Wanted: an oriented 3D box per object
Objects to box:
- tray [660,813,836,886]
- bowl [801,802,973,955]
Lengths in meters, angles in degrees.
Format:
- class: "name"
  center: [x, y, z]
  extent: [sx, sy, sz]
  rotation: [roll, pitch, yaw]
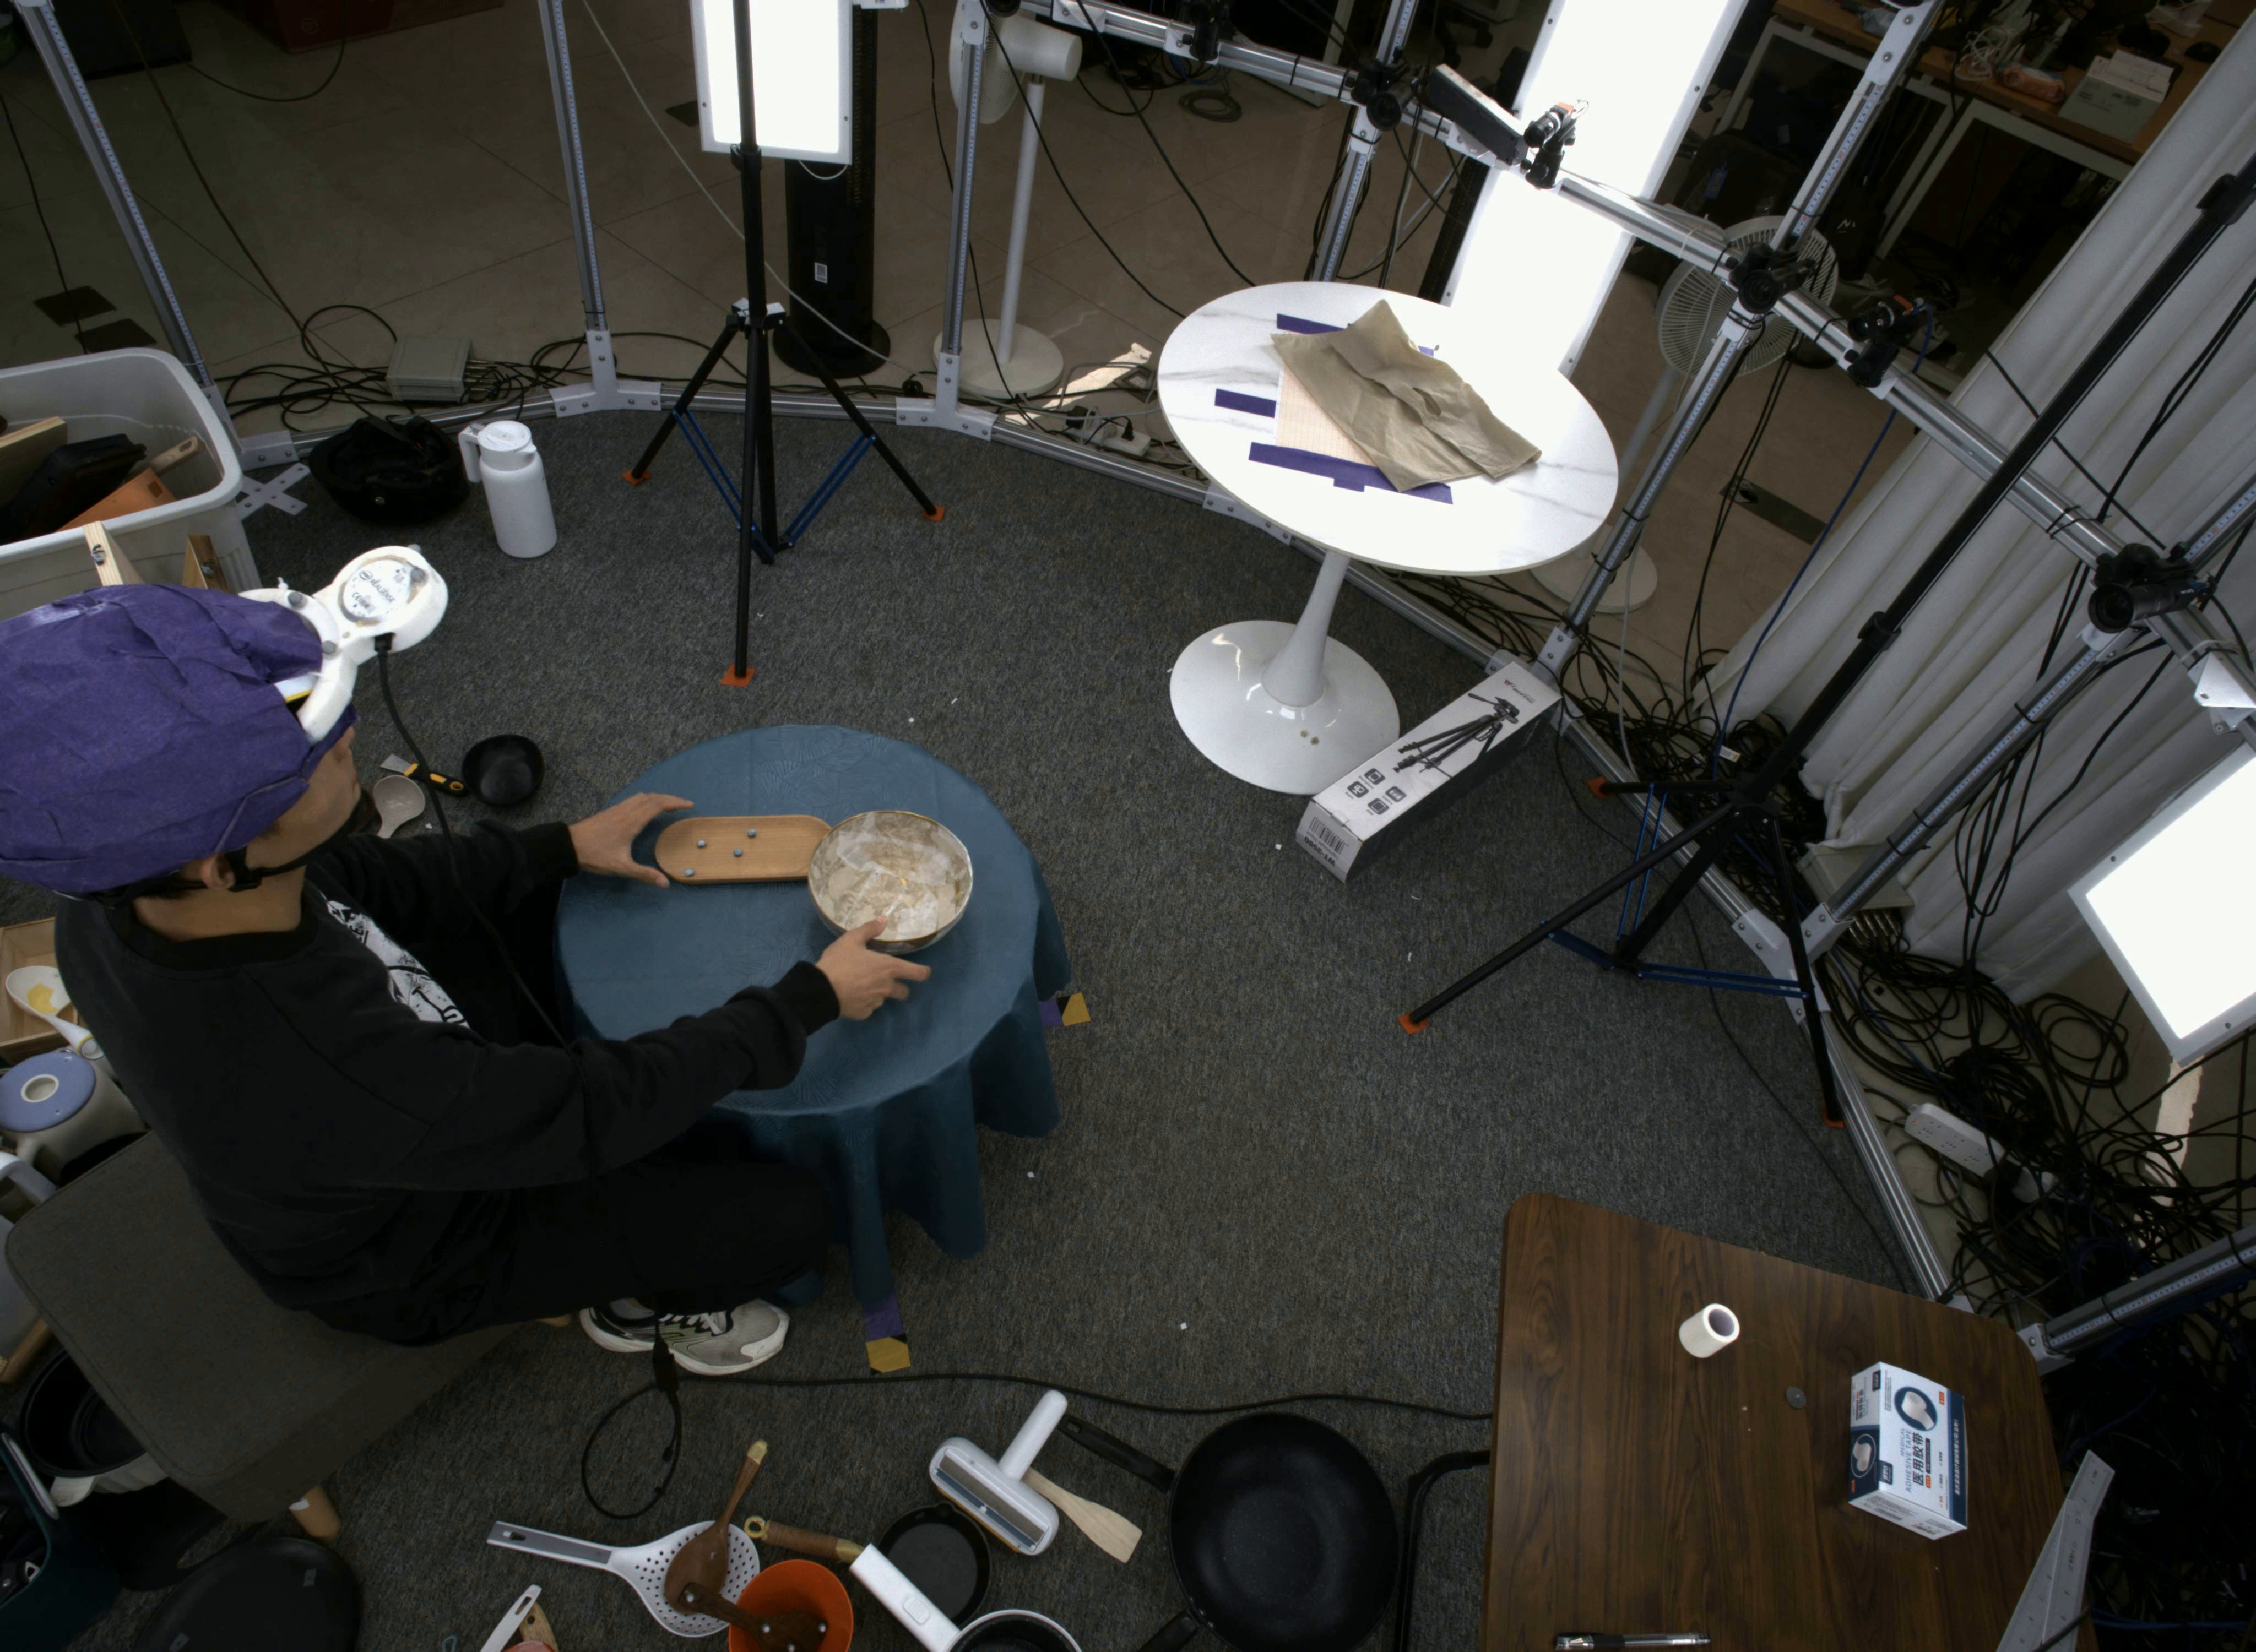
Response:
- class: "tray"
  center: [-0.490, 0.029, 1.681]
  extent: [0.232, 0.020, 0.099]
  rotation: [-2, 57, -18]
- class: "bowl"
  center: [-0.304, 0.081, 1.640]
  extent: [0.214, 0.096, 0.211]
  rotation: [8, 53, -9]
